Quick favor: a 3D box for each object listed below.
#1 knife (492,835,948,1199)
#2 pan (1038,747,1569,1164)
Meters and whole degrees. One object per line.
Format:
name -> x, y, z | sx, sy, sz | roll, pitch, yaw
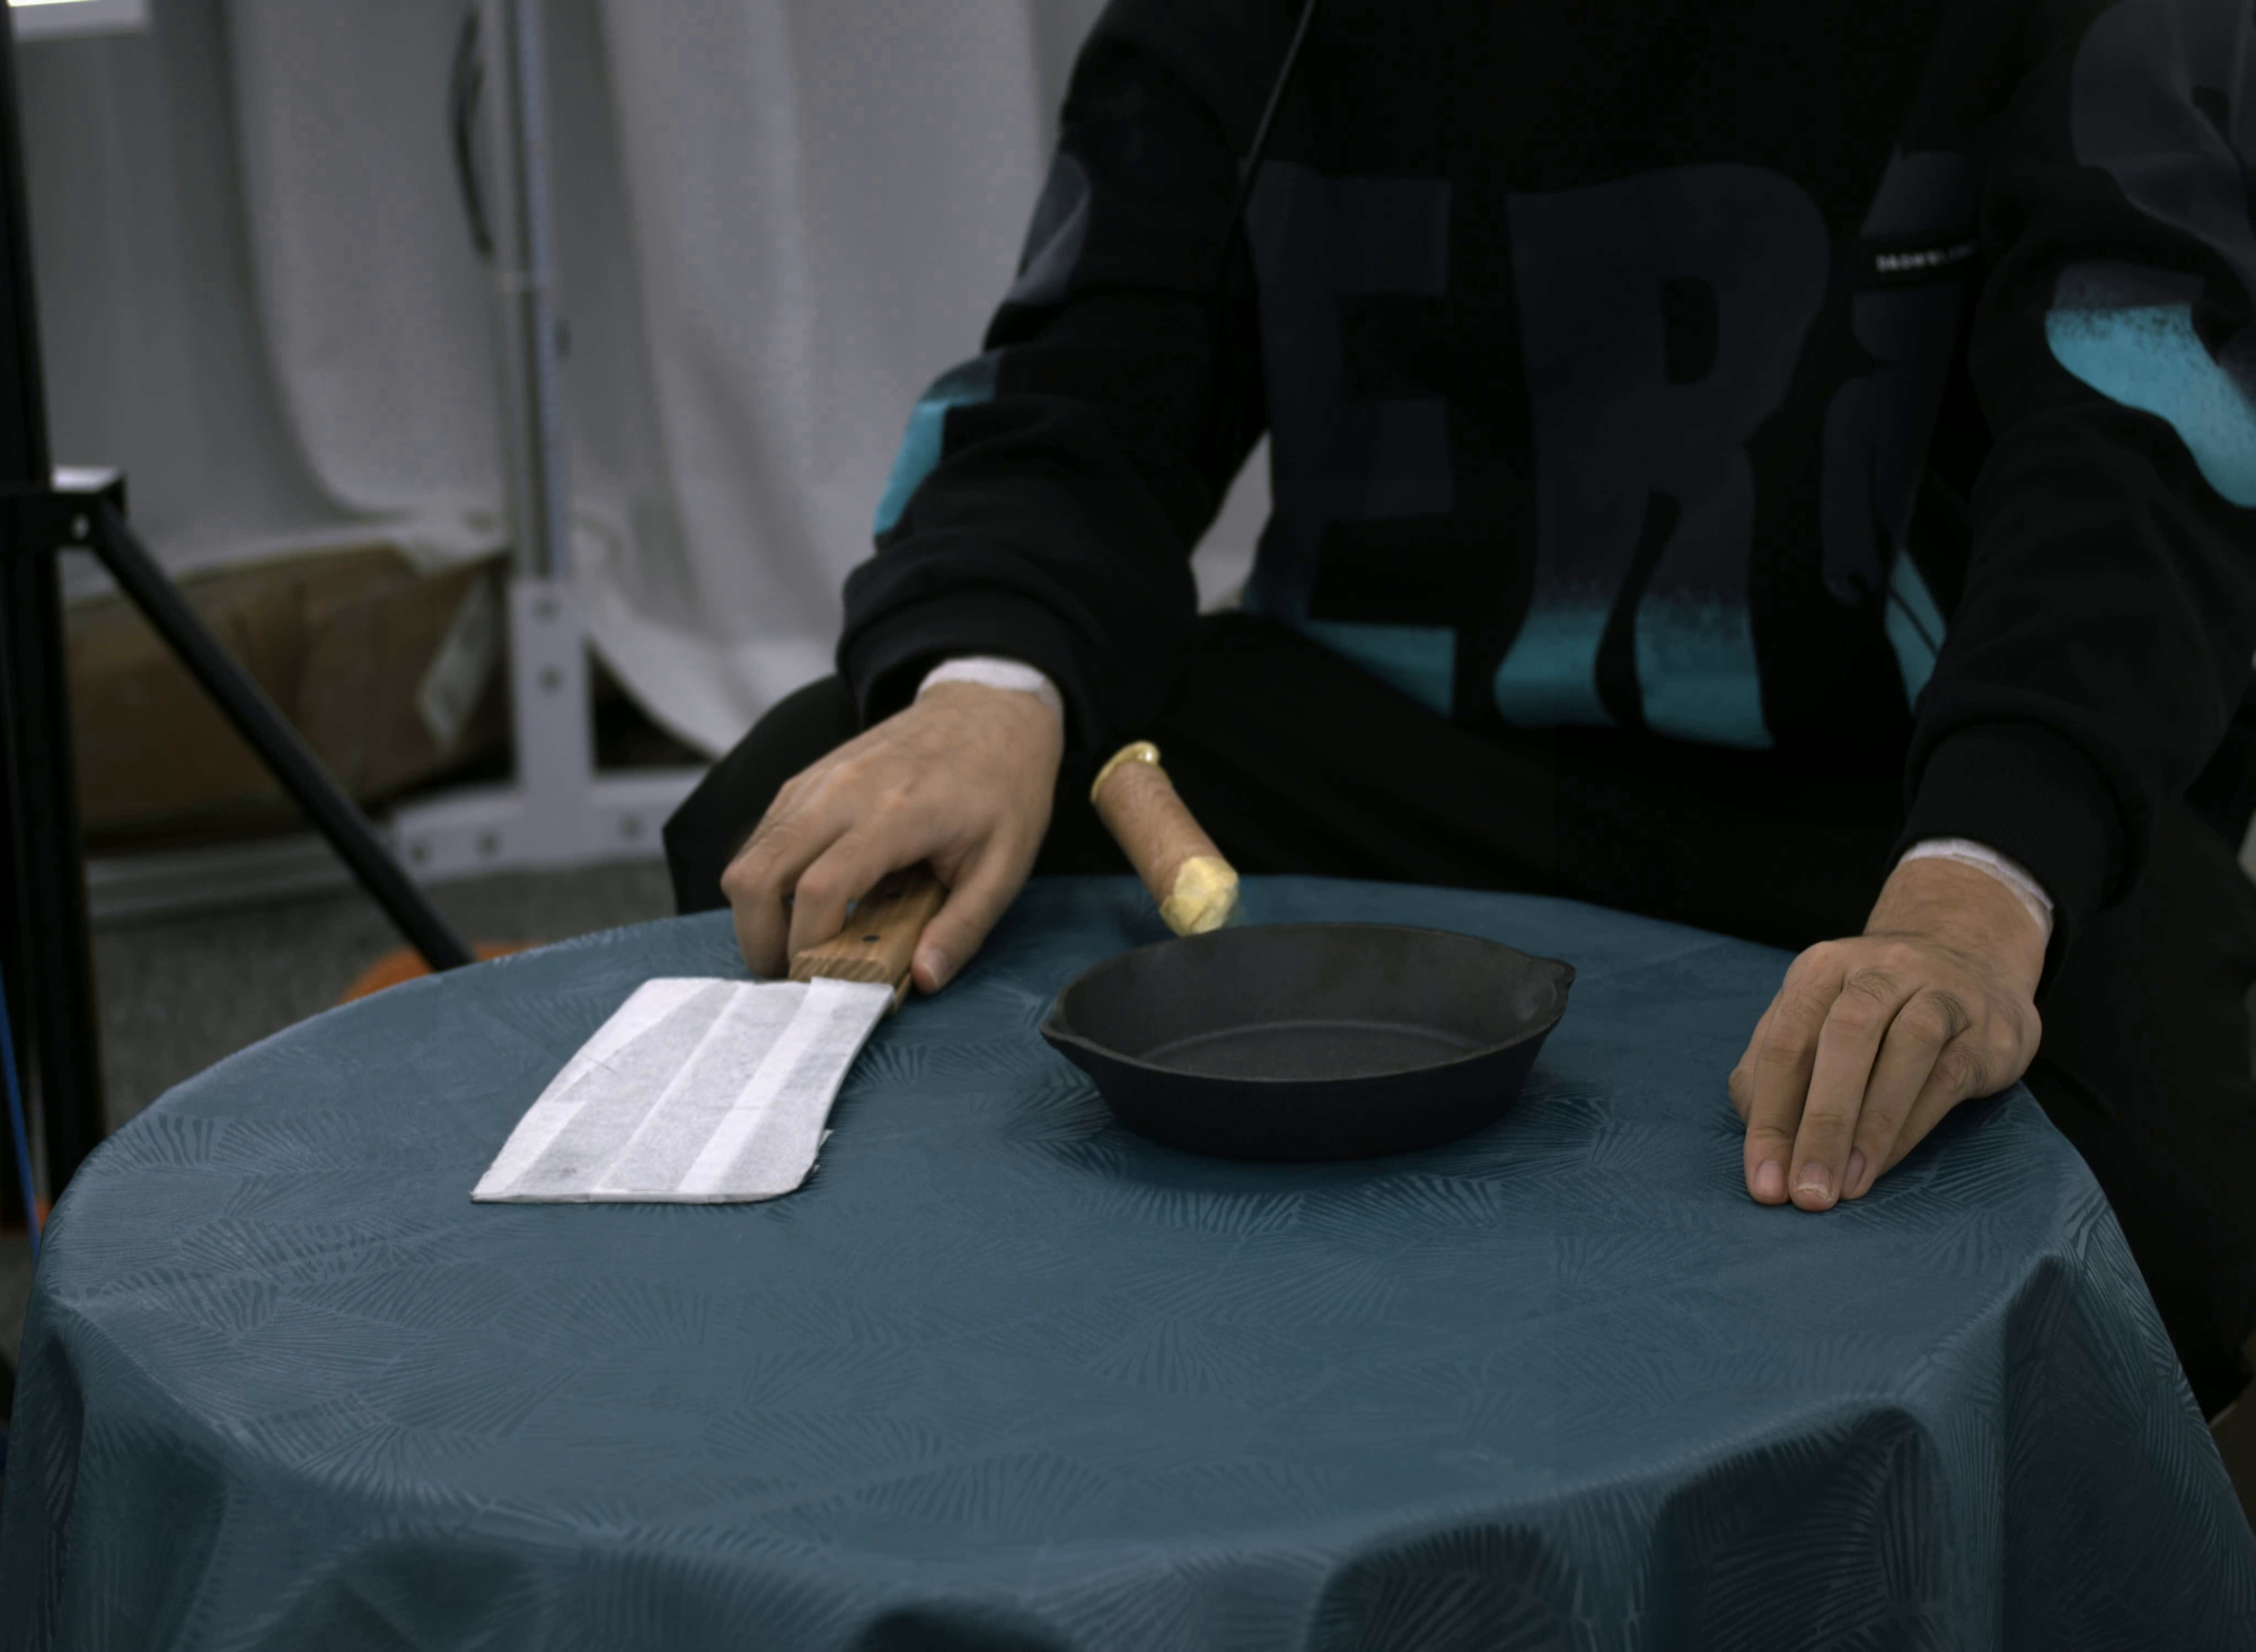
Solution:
knife -> -0.113, 0.062, 1.707 | 0.115, 0.022, 0.313 | 1, 19, 15
pan -> 0.035, 0.038, 1.707 | 0.166, 0.049, 0.329 | -6, 17, -12
